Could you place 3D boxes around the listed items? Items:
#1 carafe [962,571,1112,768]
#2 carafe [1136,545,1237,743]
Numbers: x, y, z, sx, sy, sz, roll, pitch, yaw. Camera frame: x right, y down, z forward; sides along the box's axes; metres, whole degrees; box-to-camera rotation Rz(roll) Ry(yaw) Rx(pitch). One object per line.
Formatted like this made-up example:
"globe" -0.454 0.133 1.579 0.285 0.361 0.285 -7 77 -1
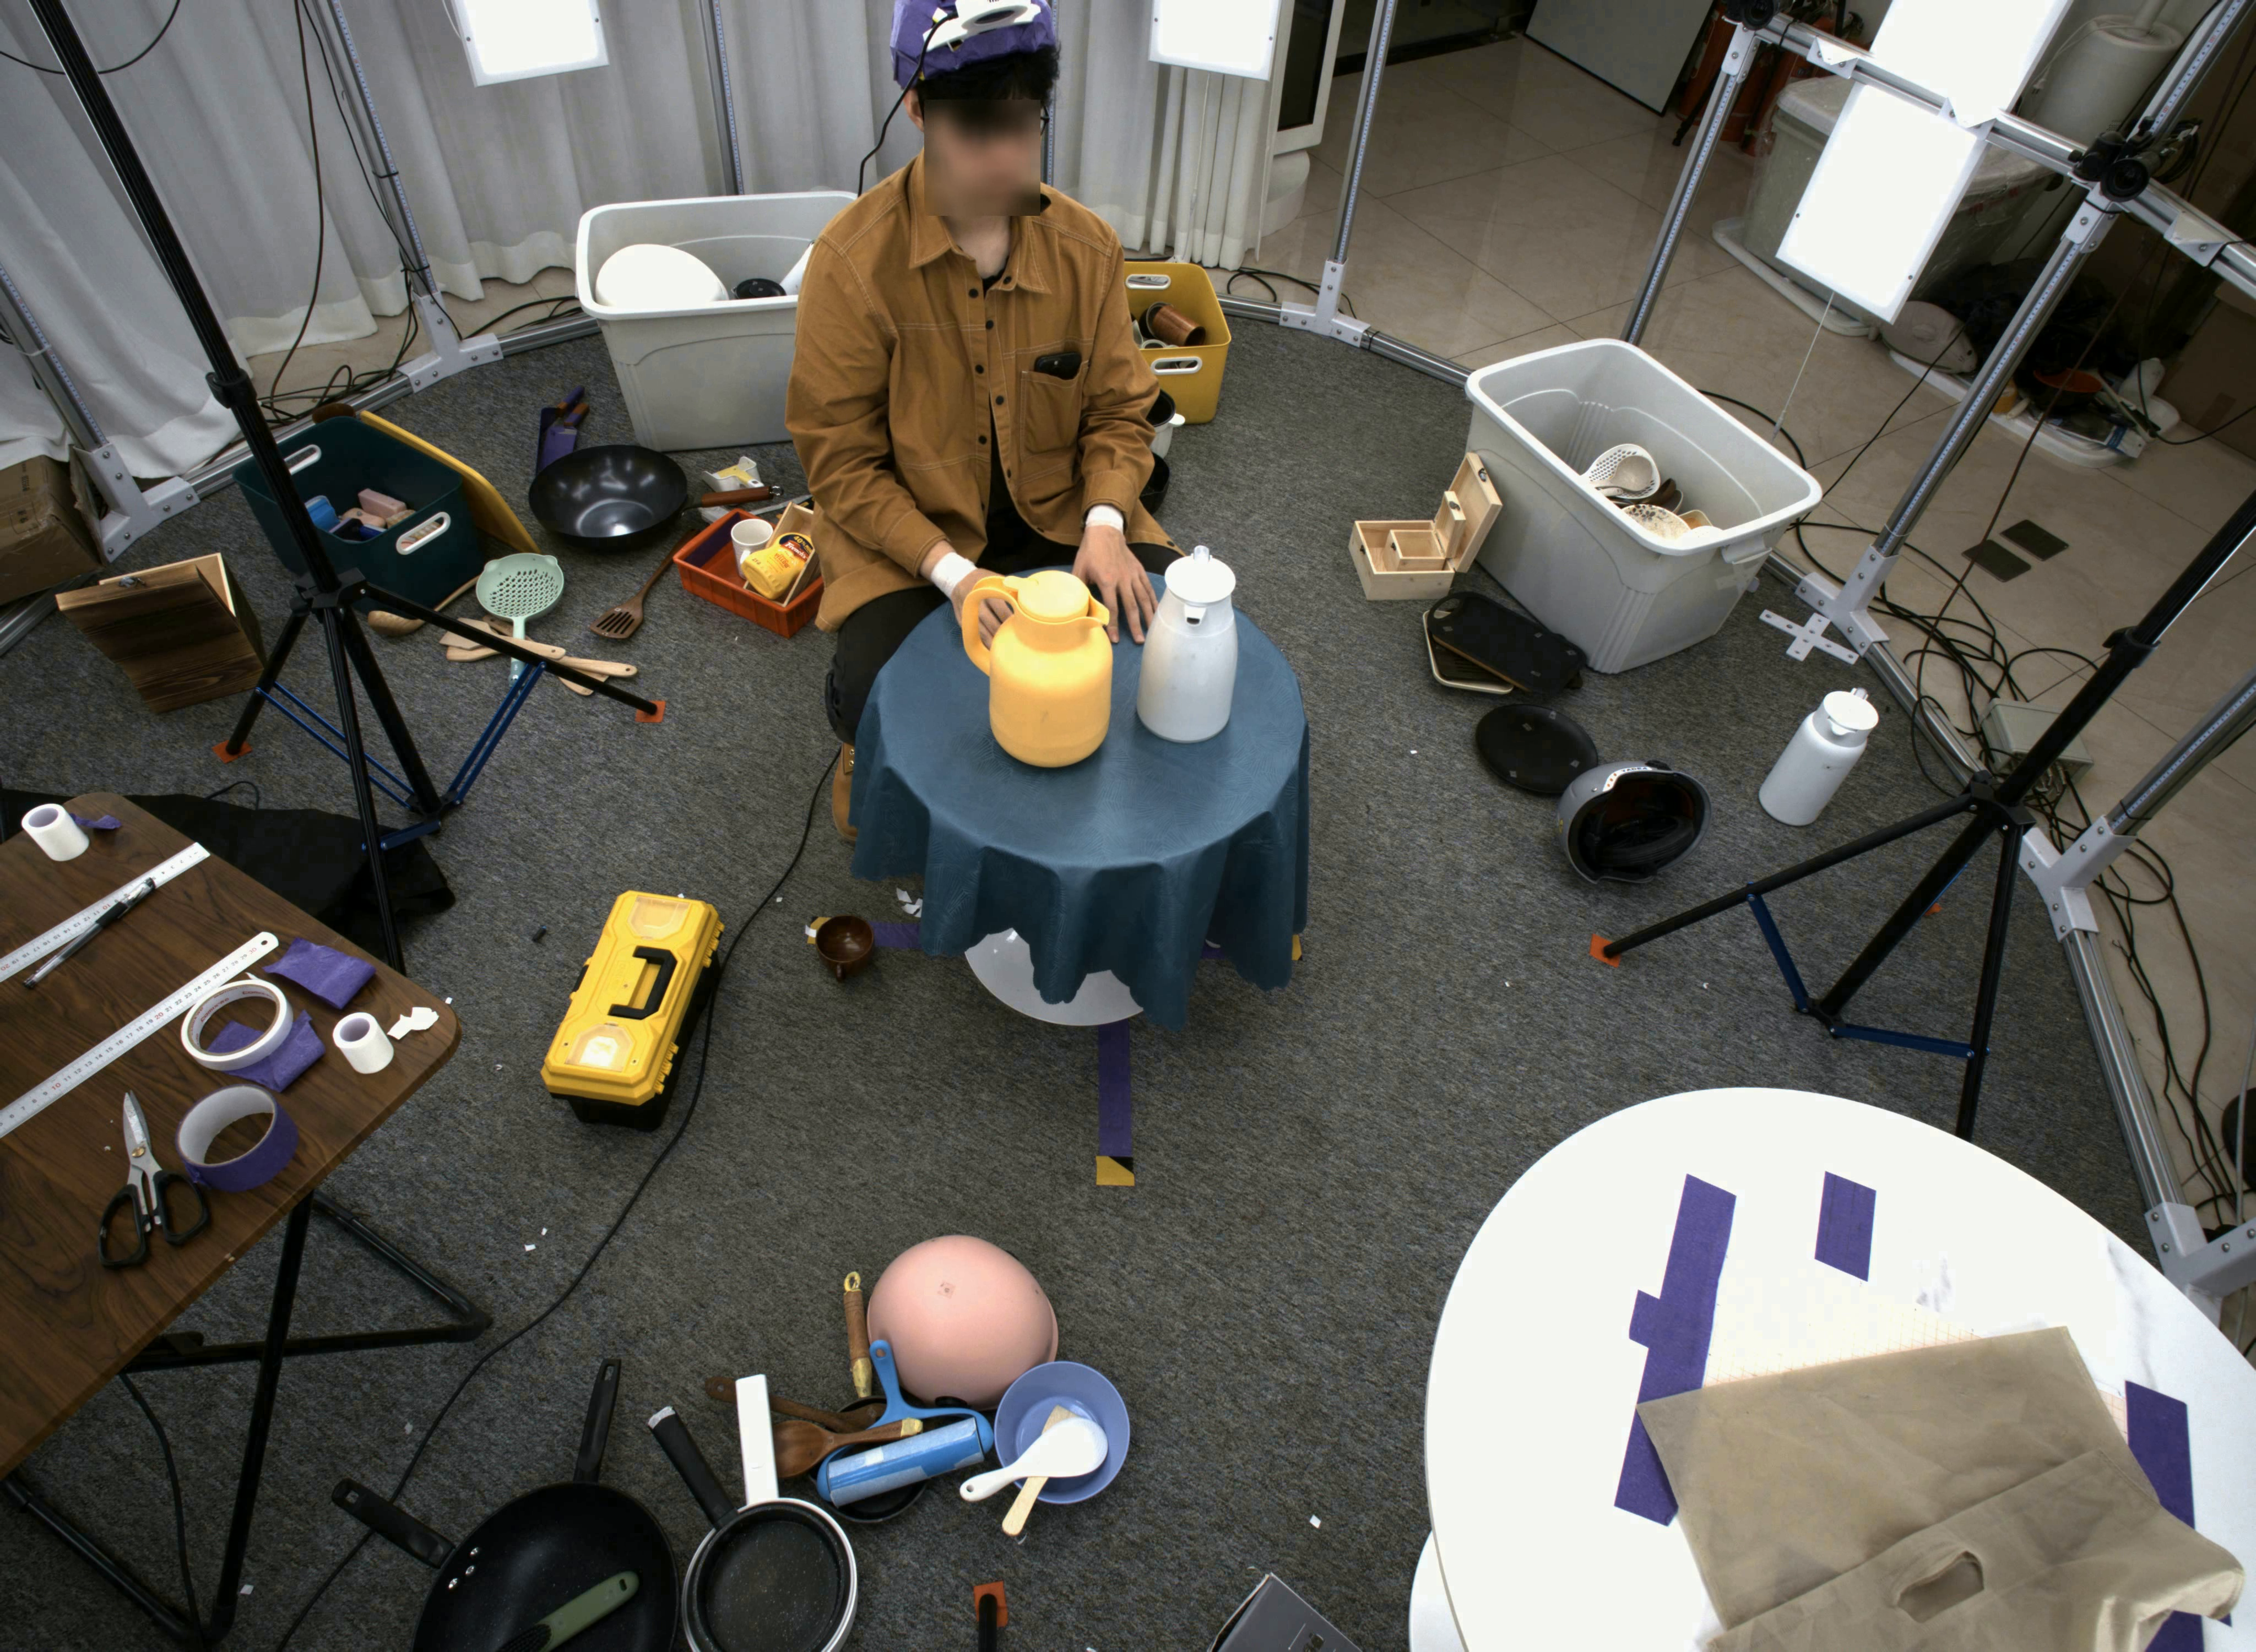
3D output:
"carafe" -0.119 -0.217 1.683 0.203 0.254 0.166 21 49 12
"carafe" 0.086 -0.258 1.738 0.132 0.242 0.172 8 49 3
